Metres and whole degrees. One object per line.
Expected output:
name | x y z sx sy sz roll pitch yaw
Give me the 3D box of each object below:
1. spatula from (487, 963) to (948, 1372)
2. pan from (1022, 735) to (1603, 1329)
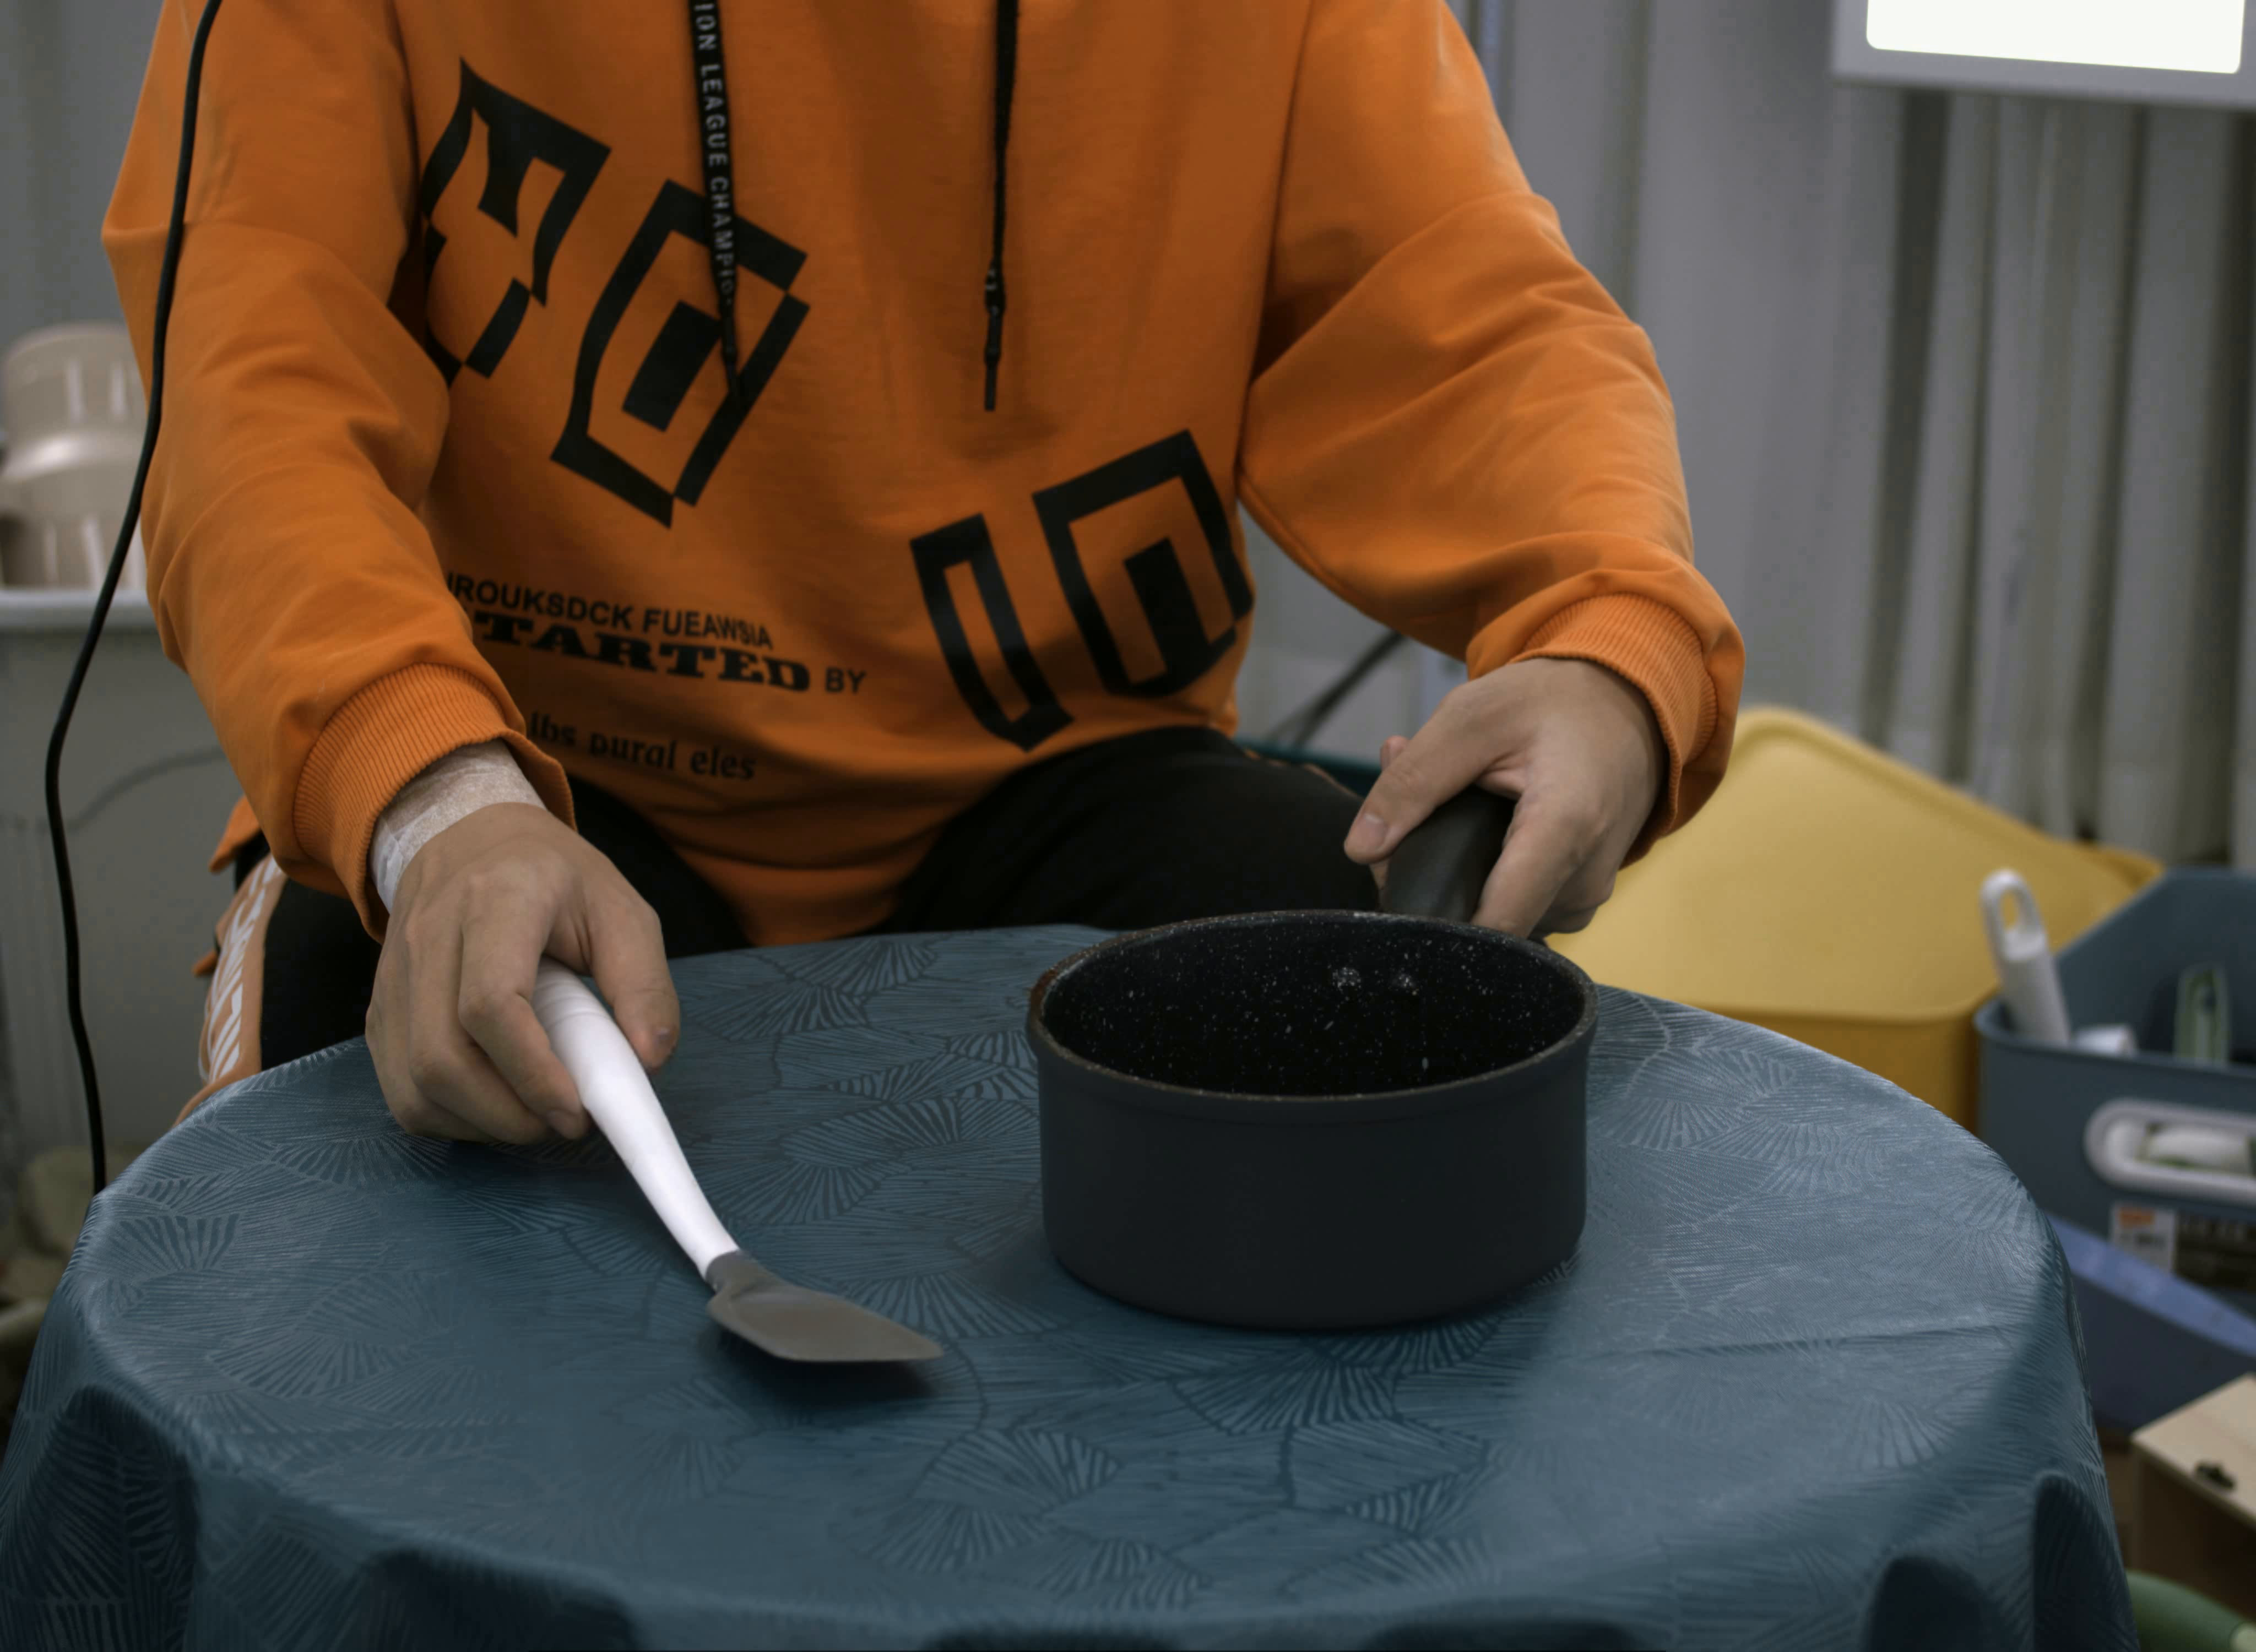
spatula | -0.131 0.107 1.561 0.059 0.032 0.284 6 17 -28
pan | 0.080 0.060 1.638 0.170 0.087 0.328 6 20 18
